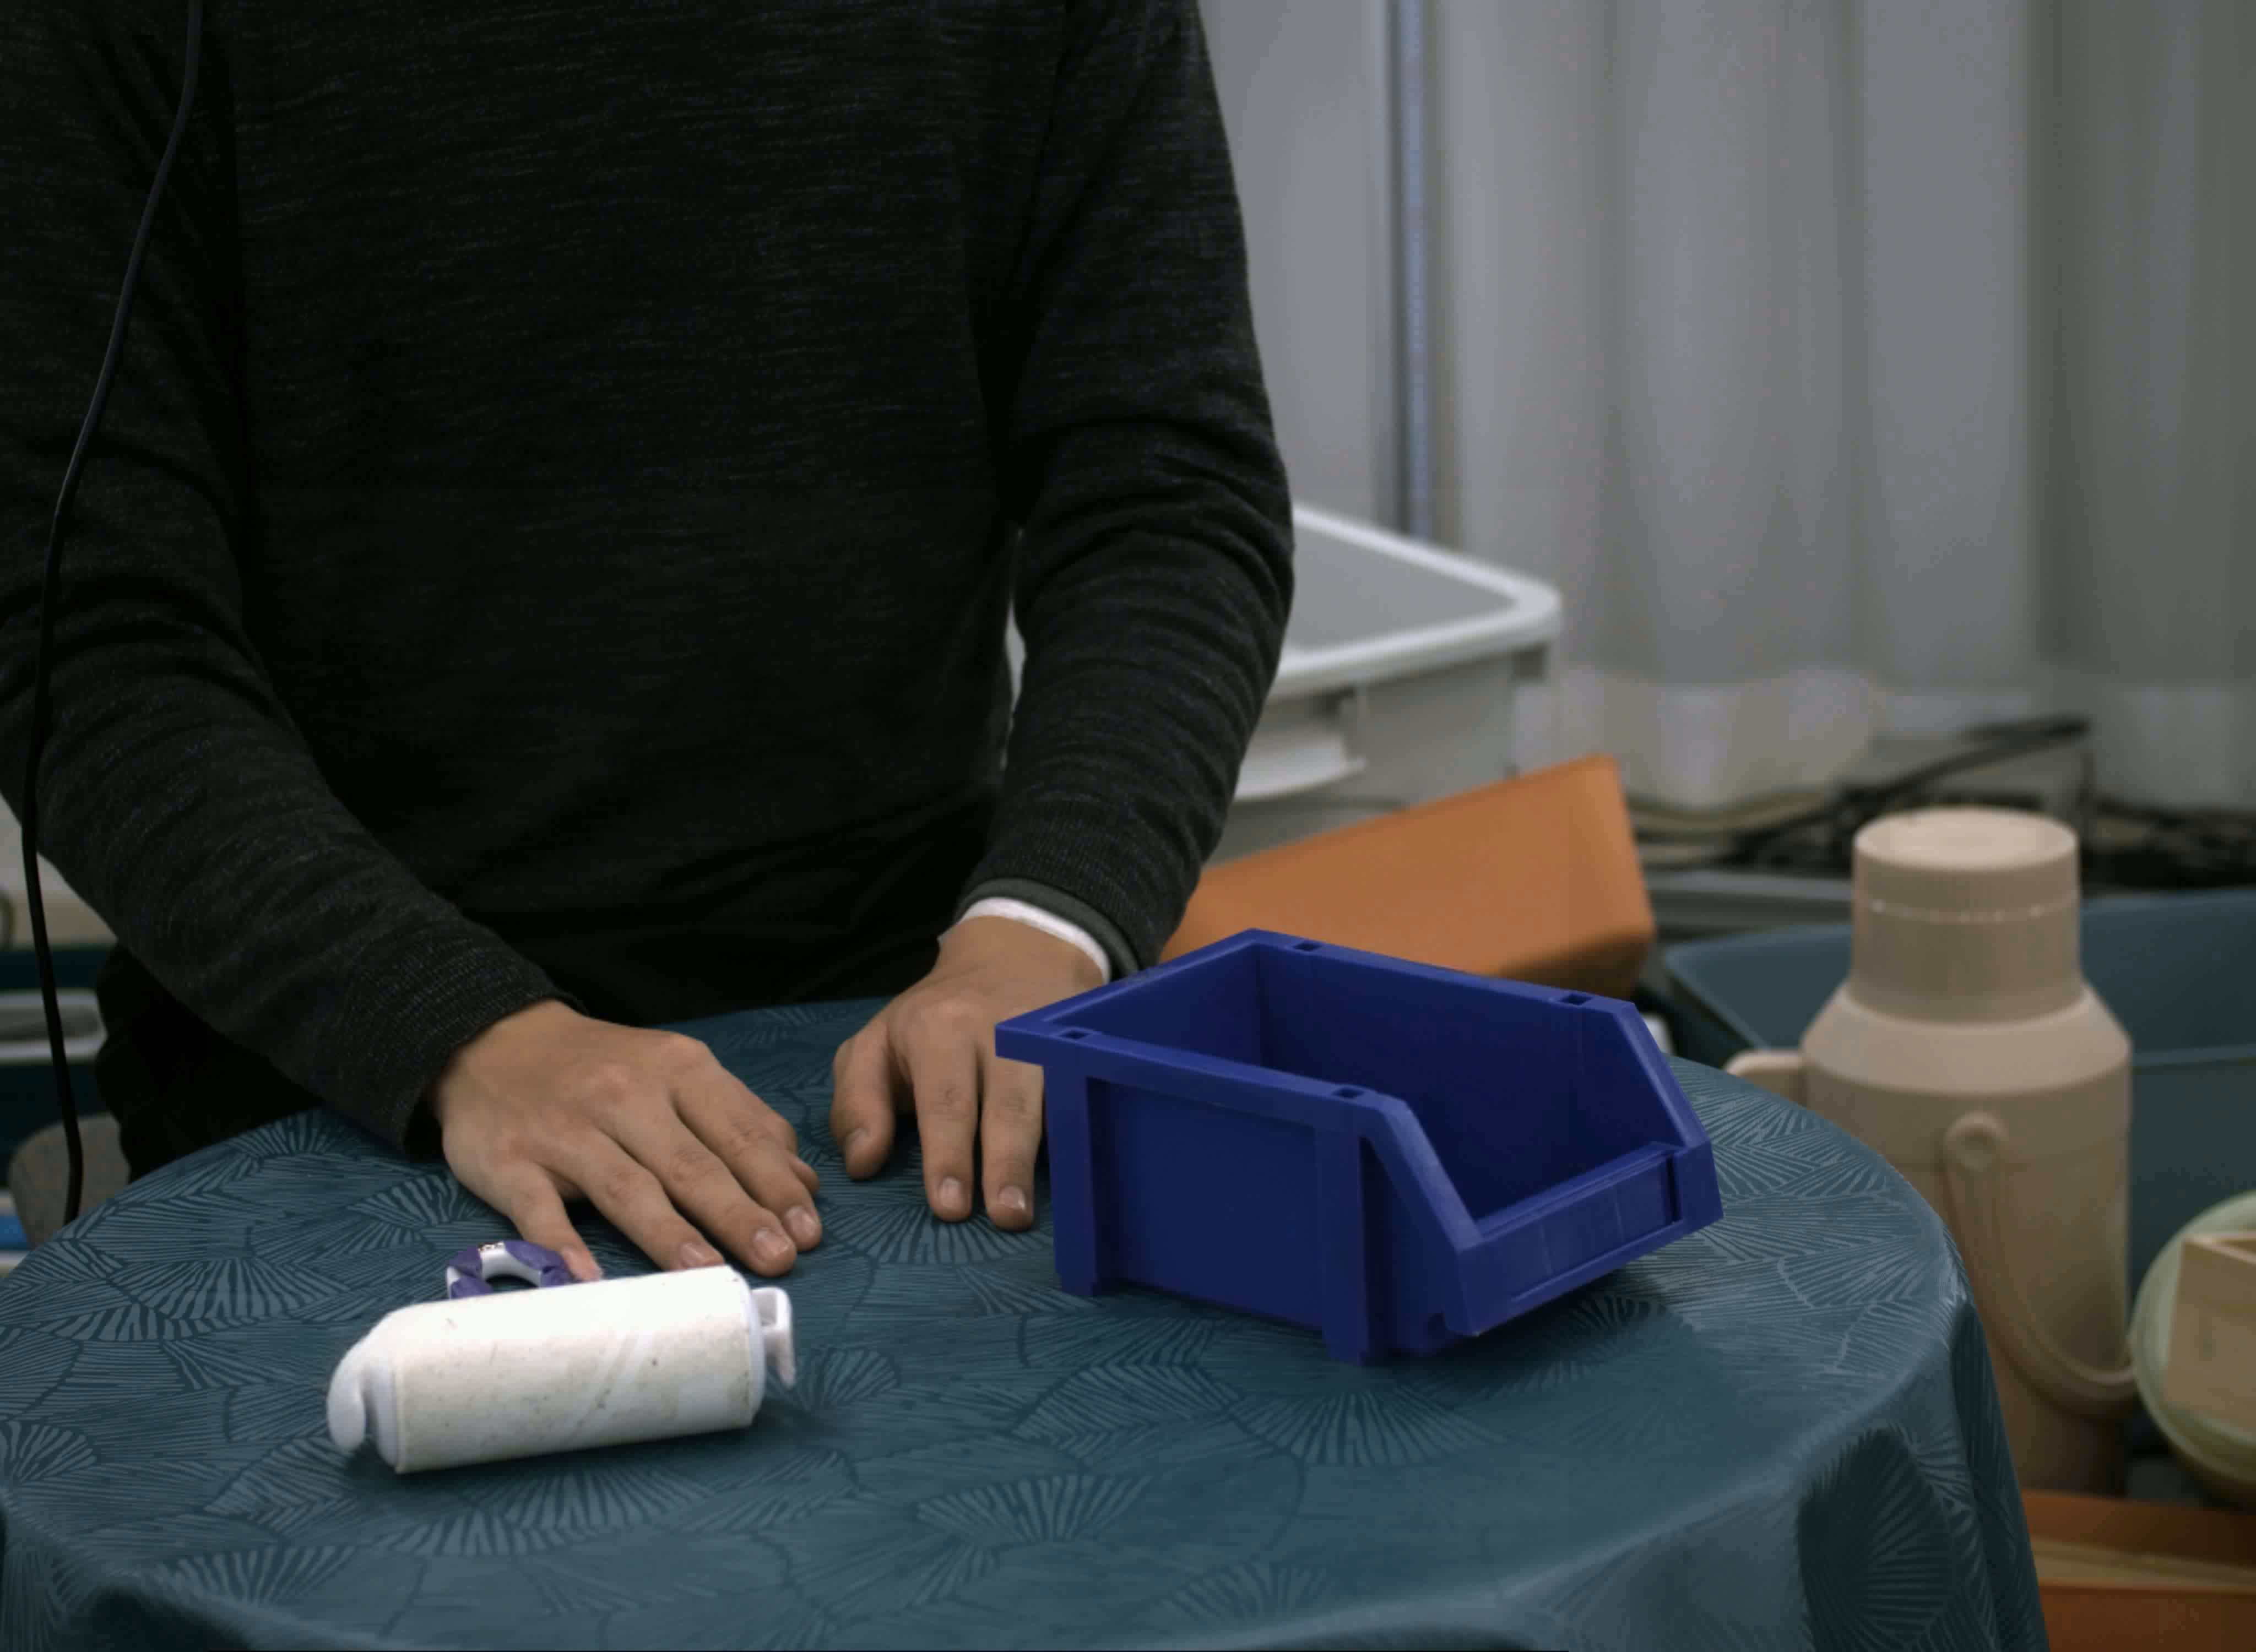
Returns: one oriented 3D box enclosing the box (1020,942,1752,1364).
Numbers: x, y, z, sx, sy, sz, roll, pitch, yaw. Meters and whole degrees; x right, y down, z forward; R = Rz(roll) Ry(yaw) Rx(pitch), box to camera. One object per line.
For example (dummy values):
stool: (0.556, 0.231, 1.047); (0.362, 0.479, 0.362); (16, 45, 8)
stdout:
box: (0.077, 0.096, 1.612); (0.180, 0.081, 0.124); (7, 17, 43)

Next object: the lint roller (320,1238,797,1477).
lint roller: (-0.171, 0.135, 1.581); (0.132, 0.050, 0.182); (-7, 17, -11)
